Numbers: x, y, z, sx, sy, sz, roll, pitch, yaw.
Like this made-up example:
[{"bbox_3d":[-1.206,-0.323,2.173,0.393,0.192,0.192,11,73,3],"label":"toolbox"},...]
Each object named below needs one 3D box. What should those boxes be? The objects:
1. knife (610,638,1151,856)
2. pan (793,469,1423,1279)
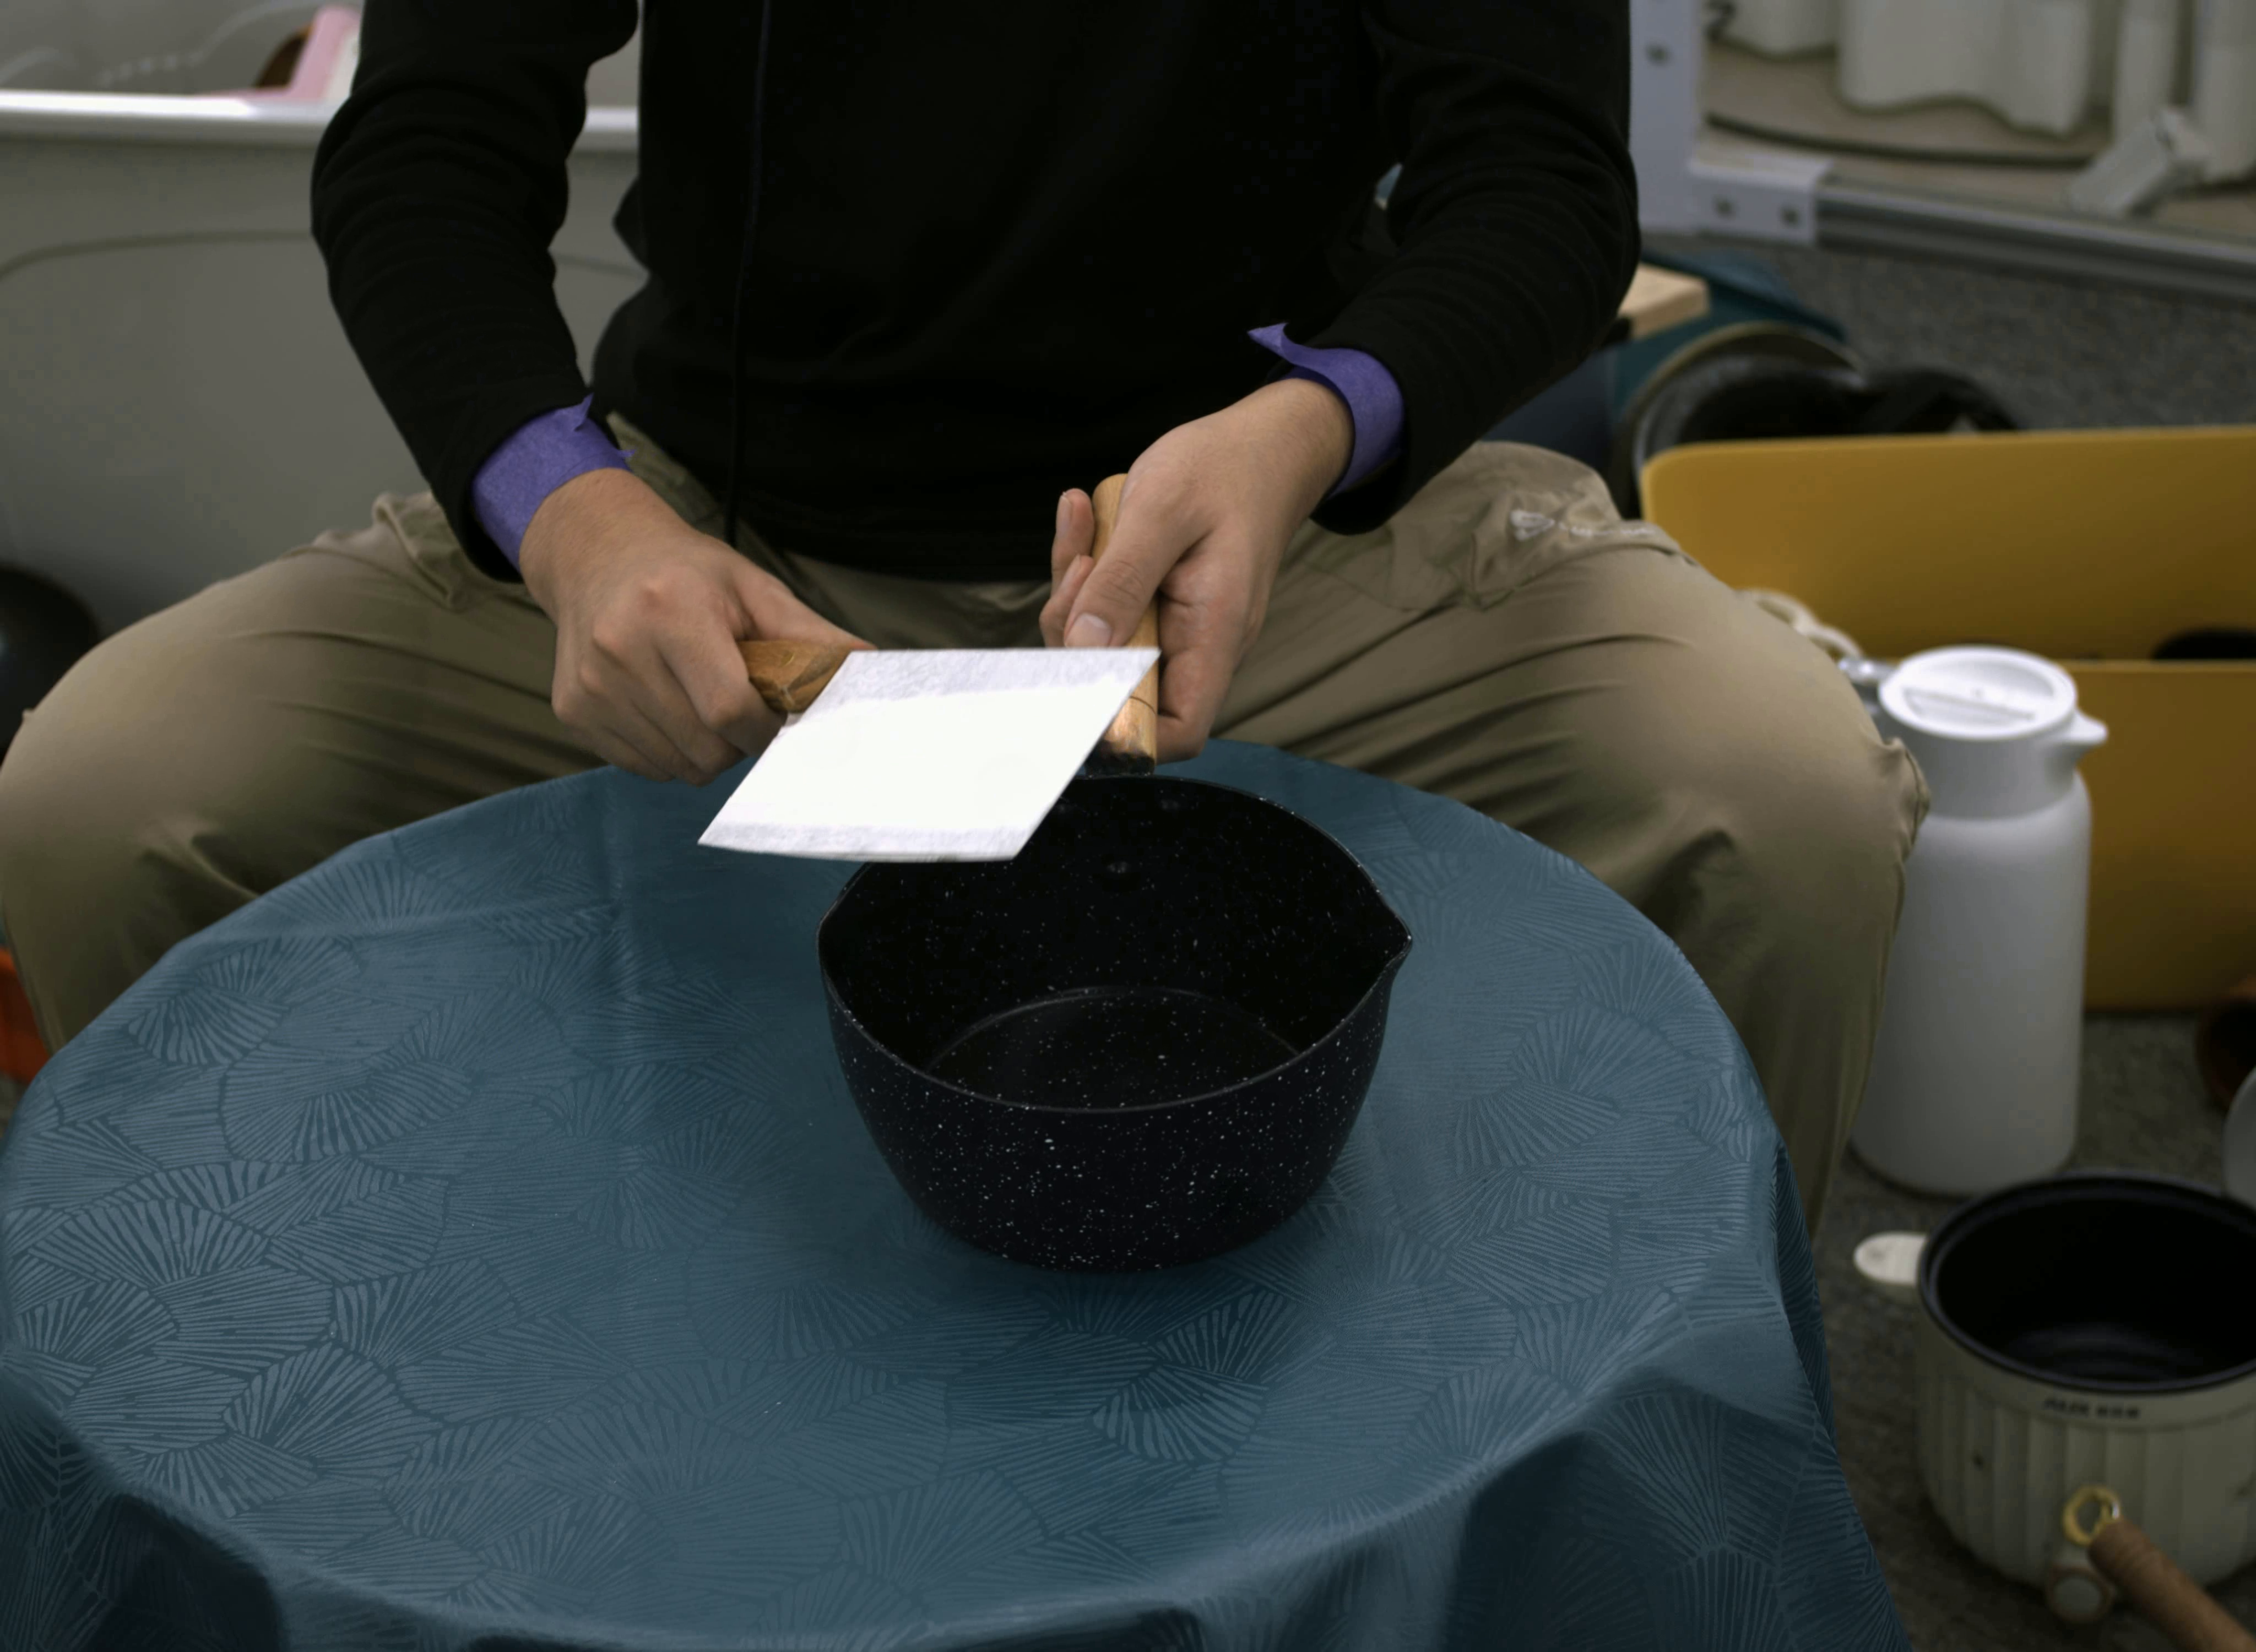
[{"bbox_3d":[-0.102,-0.026,1.921,0.303,0.021,0.094,2,50,53],"label":"knife"},{"bbox_3d":[-0.006,0.014,1.912,0.206,0.107,0.349,-1,36,1],"label":"pan"}]
